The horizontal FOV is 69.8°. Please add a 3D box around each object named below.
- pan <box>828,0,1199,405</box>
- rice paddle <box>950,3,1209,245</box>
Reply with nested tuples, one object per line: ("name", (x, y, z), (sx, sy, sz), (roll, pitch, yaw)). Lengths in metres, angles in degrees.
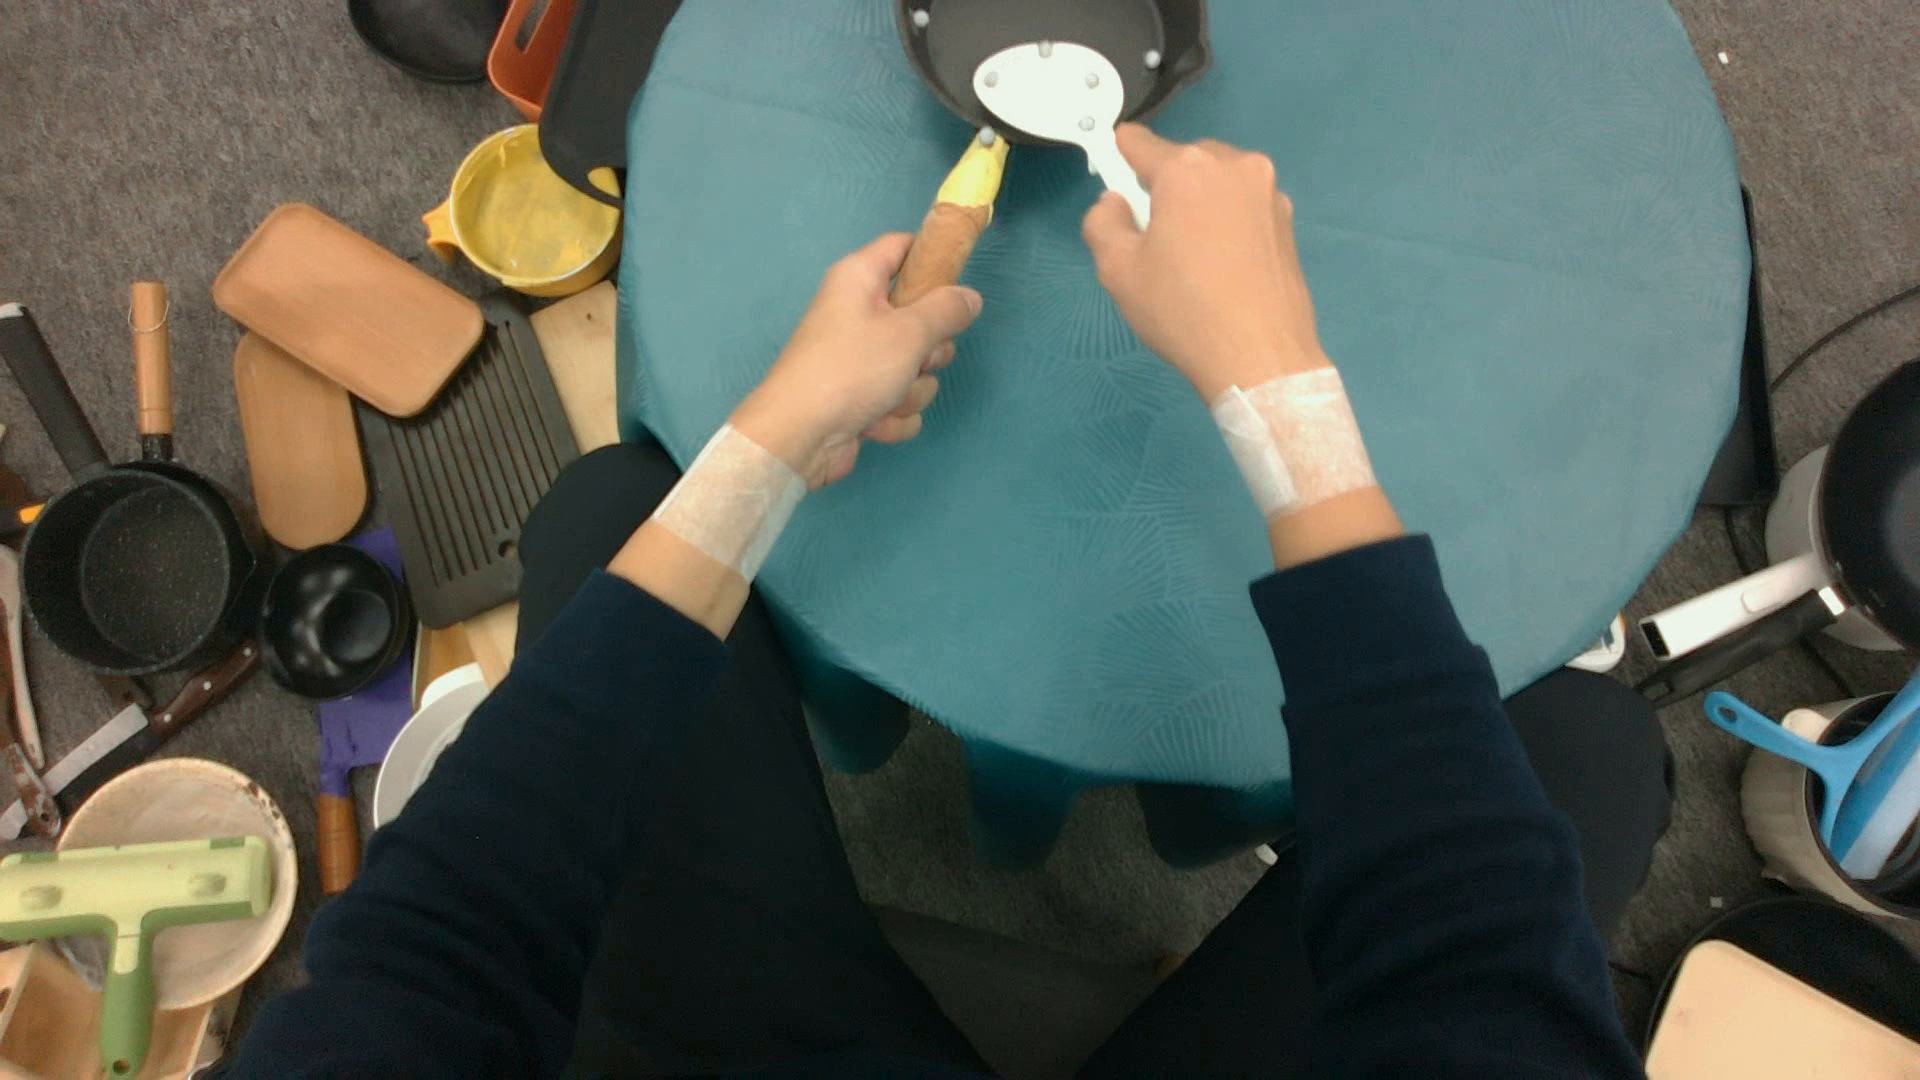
("pan", (0.007, -0.205, 0.673), (0.169, 0.049, 0.325), (24, 75, 1))
("rice paddle", (0.053, -0.207, 0.643), (0.069, 0.029, 0.206), (-19, 50, -11))
